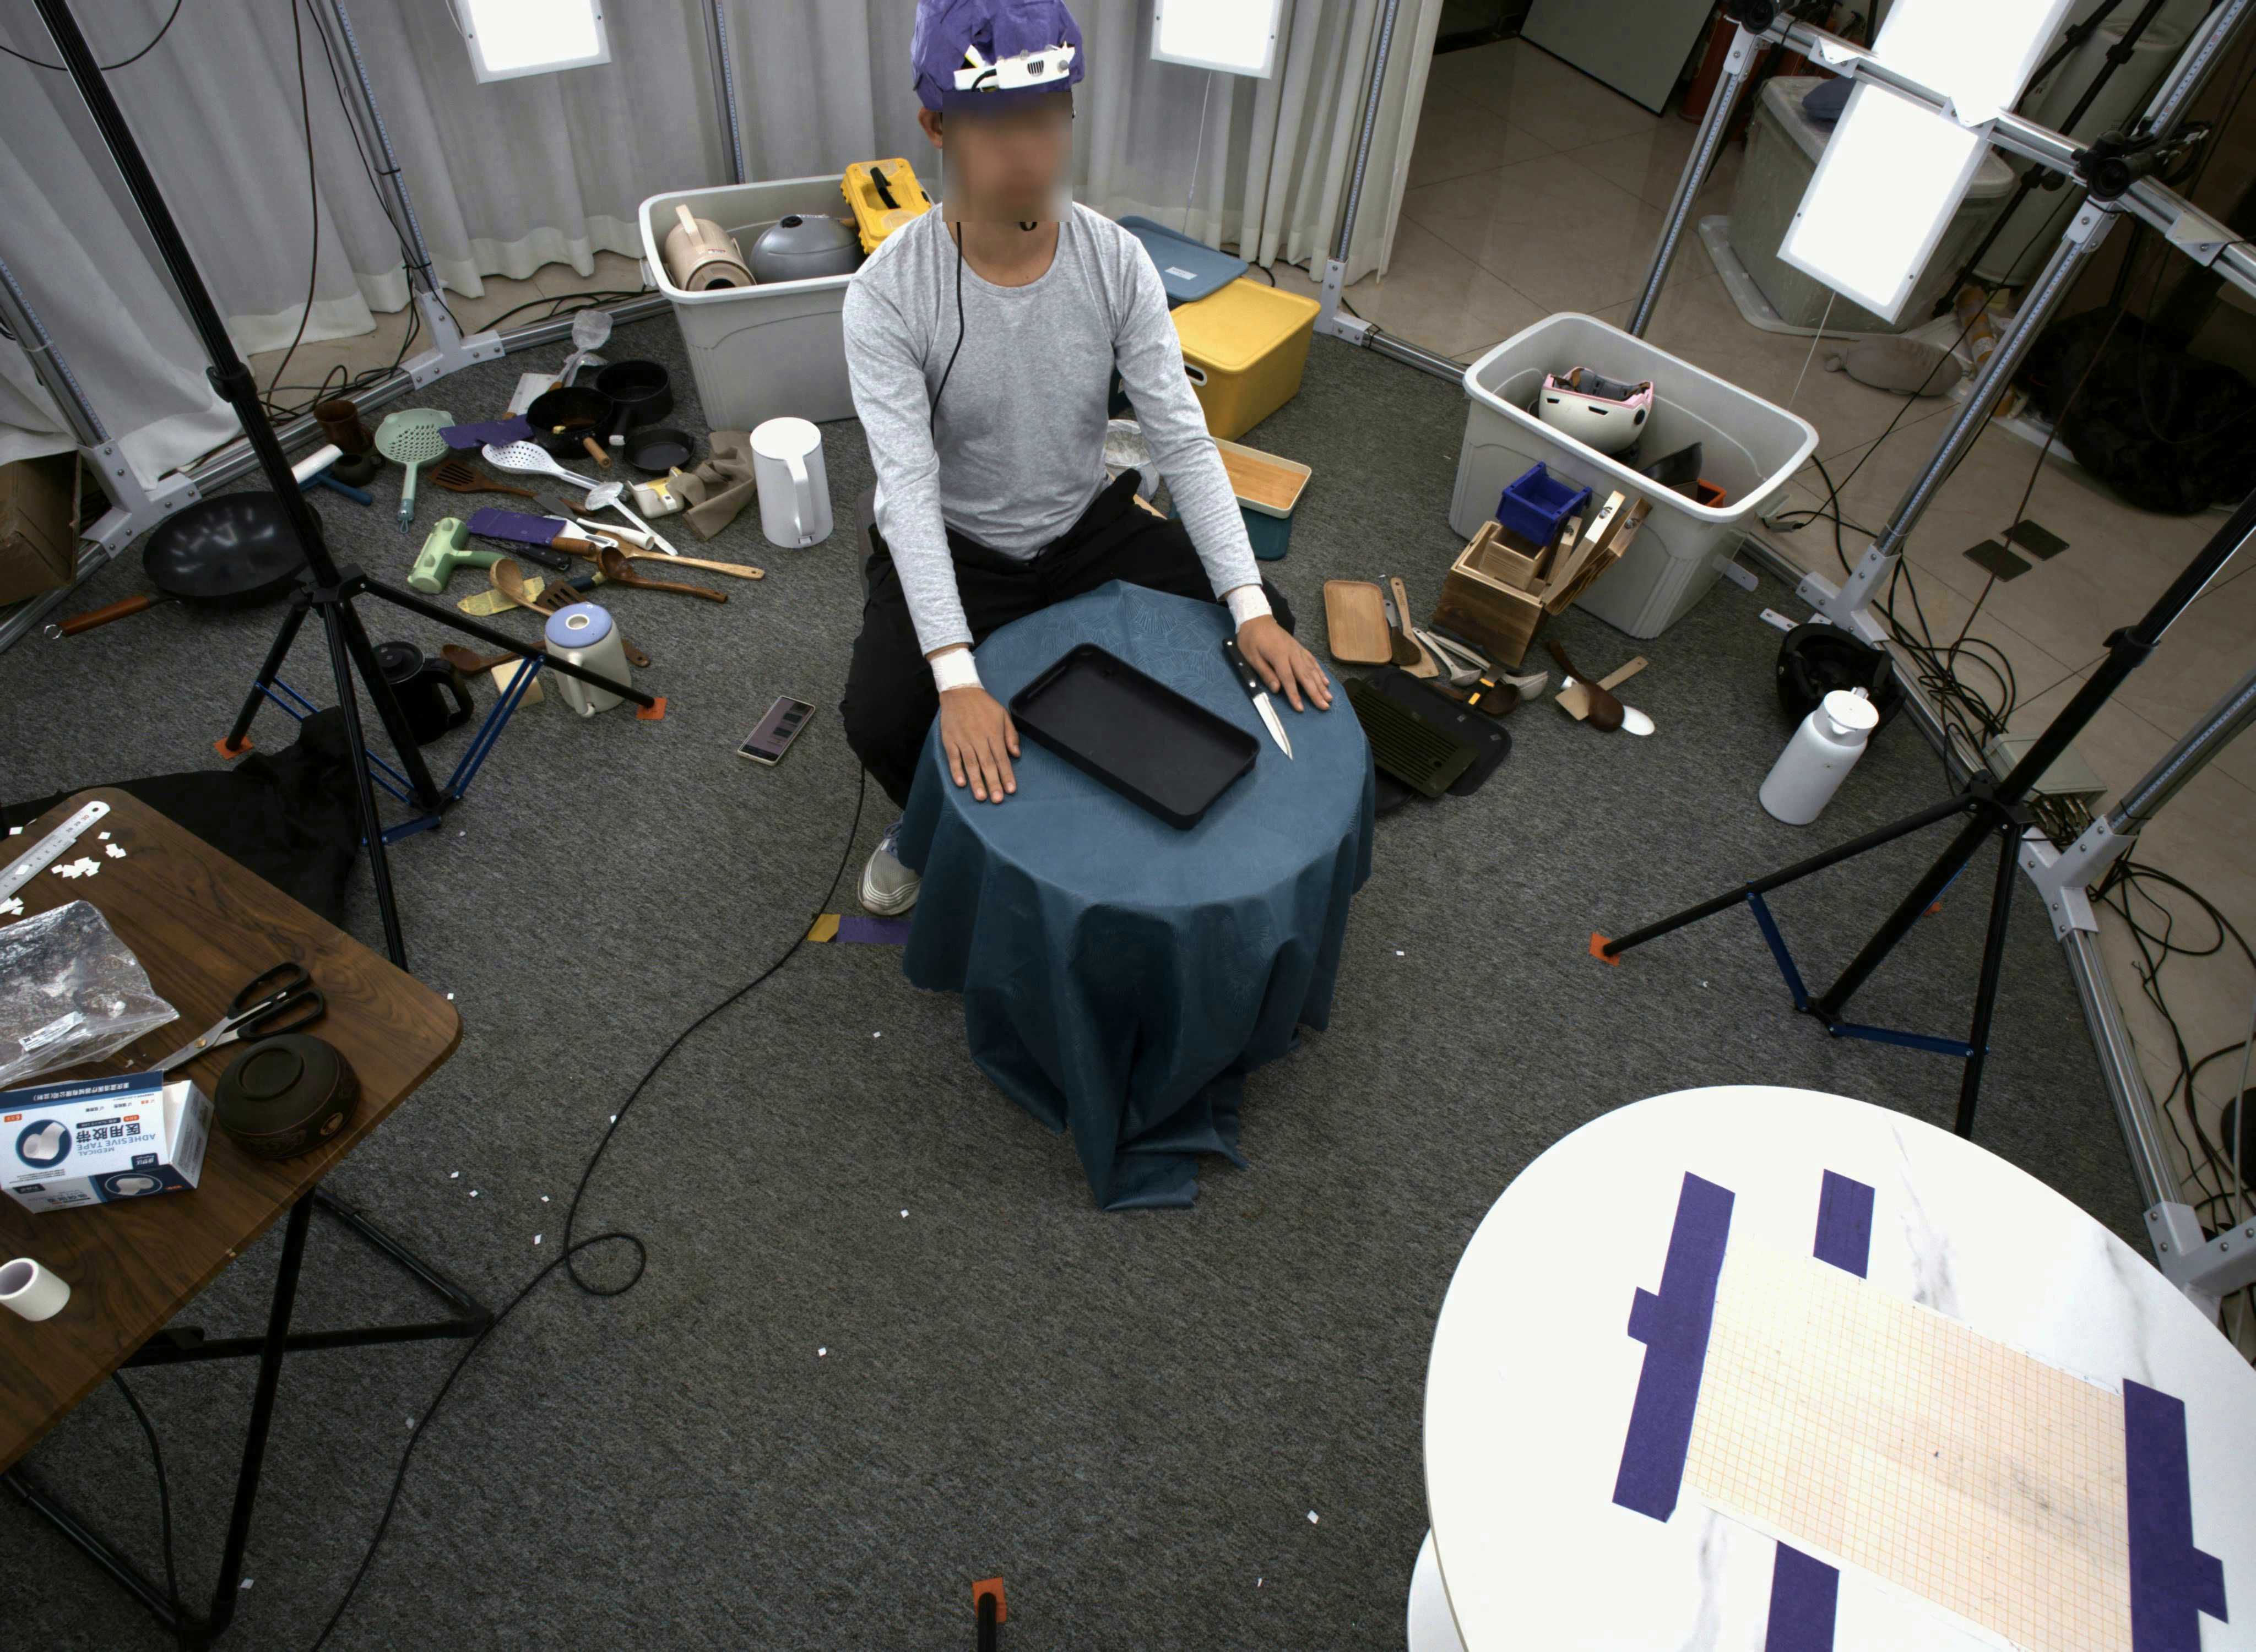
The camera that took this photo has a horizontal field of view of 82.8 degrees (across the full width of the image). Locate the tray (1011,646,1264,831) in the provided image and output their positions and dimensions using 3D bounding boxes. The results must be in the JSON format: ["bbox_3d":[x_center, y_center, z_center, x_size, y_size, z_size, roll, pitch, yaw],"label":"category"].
[{"bbox_3d":[0.011,-0.125,1.753,0.321,0.036,0.186,31,53,22],"label":"tray"}]

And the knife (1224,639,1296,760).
[{"bbox_3d":[0.188,-0.182,1.831,0.024,0.016,0.244,-14,54,-14],"label":"knife"}]
